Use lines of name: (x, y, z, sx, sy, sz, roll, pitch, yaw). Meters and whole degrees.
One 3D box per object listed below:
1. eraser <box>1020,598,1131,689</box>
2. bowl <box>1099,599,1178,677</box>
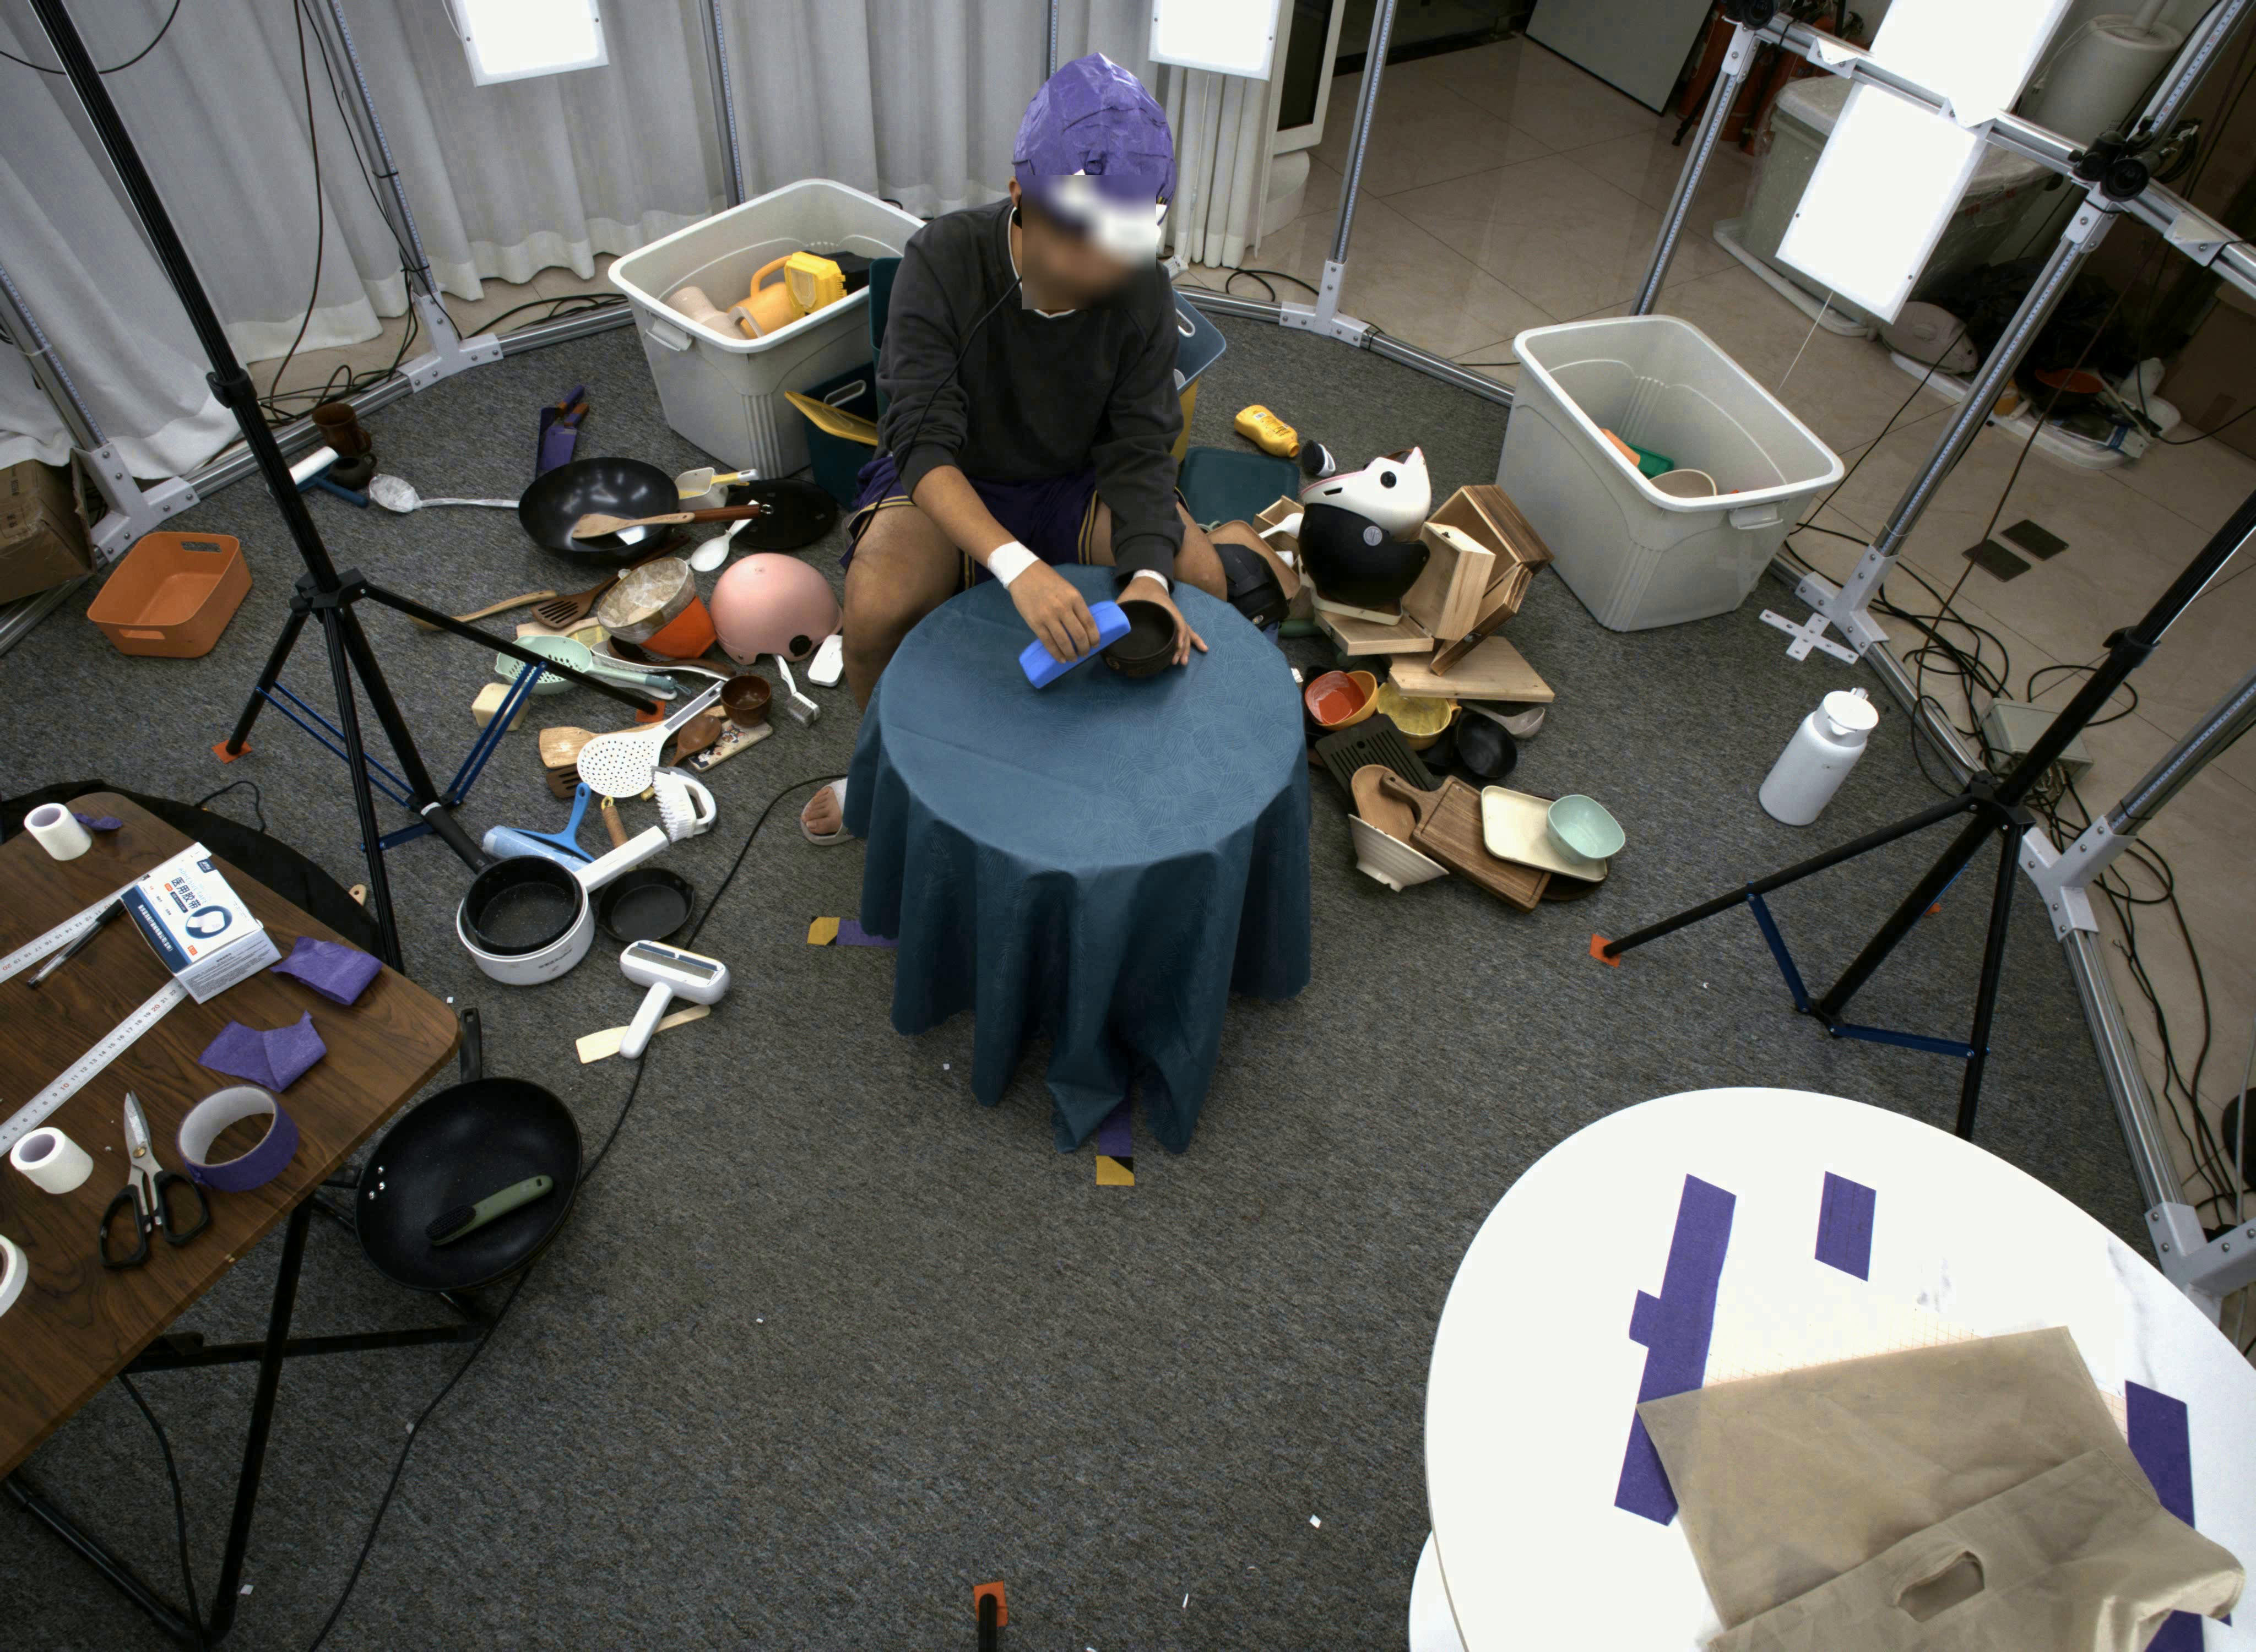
eraser: (-0.076, -0.257, 1.795, 0.162, 0.046, 0.055, -32, 62, 4)
bowl: (0.014, -0.262, 1.843, 0.118, 0.068, 0.121, -3, 53, 4)
